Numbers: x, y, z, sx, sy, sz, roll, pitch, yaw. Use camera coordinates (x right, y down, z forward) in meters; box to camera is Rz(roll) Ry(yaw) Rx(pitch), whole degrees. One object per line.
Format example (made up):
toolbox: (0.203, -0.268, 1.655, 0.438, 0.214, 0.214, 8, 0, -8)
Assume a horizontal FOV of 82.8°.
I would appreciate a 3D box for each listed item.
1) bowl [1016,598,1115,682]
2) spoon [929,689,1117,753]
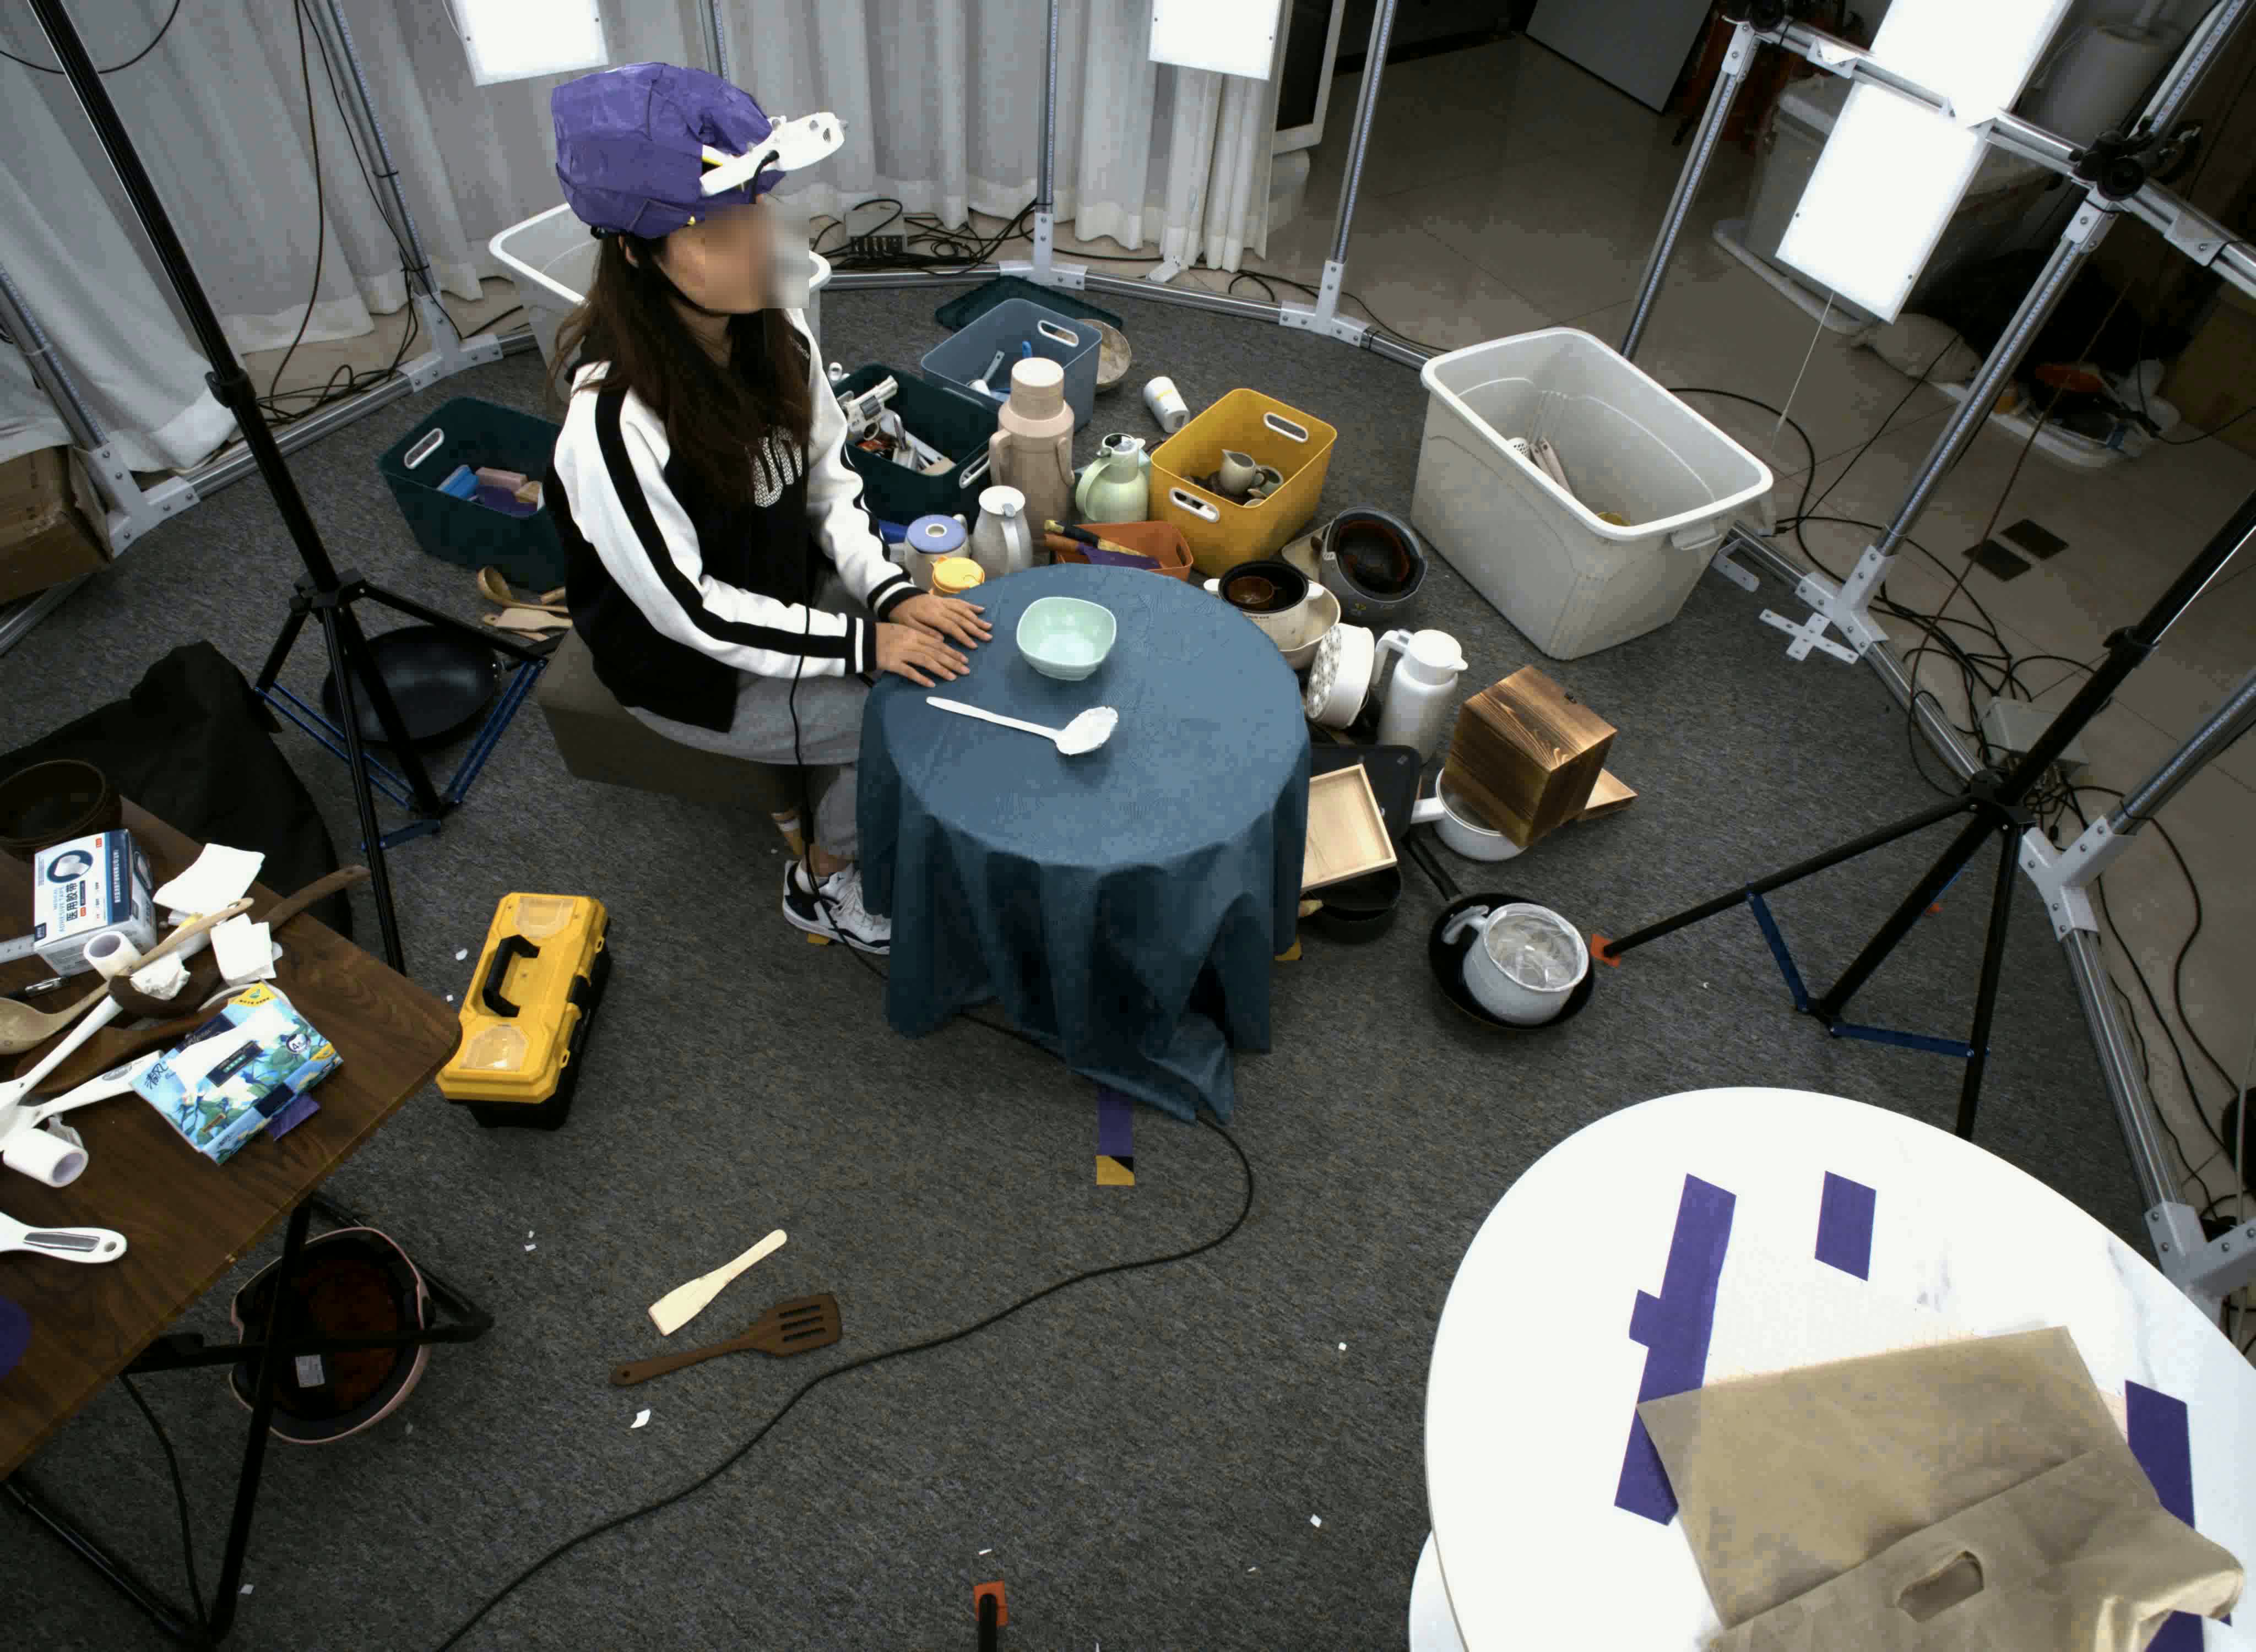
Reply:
bowl: (-0.090, -0.260, 1.856, 0.151, 0.057, 0.155, 2, 49, -3)
spoon: (-0.147, -0.164, 1.766, 0.279, 0.058, 0.102, 19, 46, 12)
